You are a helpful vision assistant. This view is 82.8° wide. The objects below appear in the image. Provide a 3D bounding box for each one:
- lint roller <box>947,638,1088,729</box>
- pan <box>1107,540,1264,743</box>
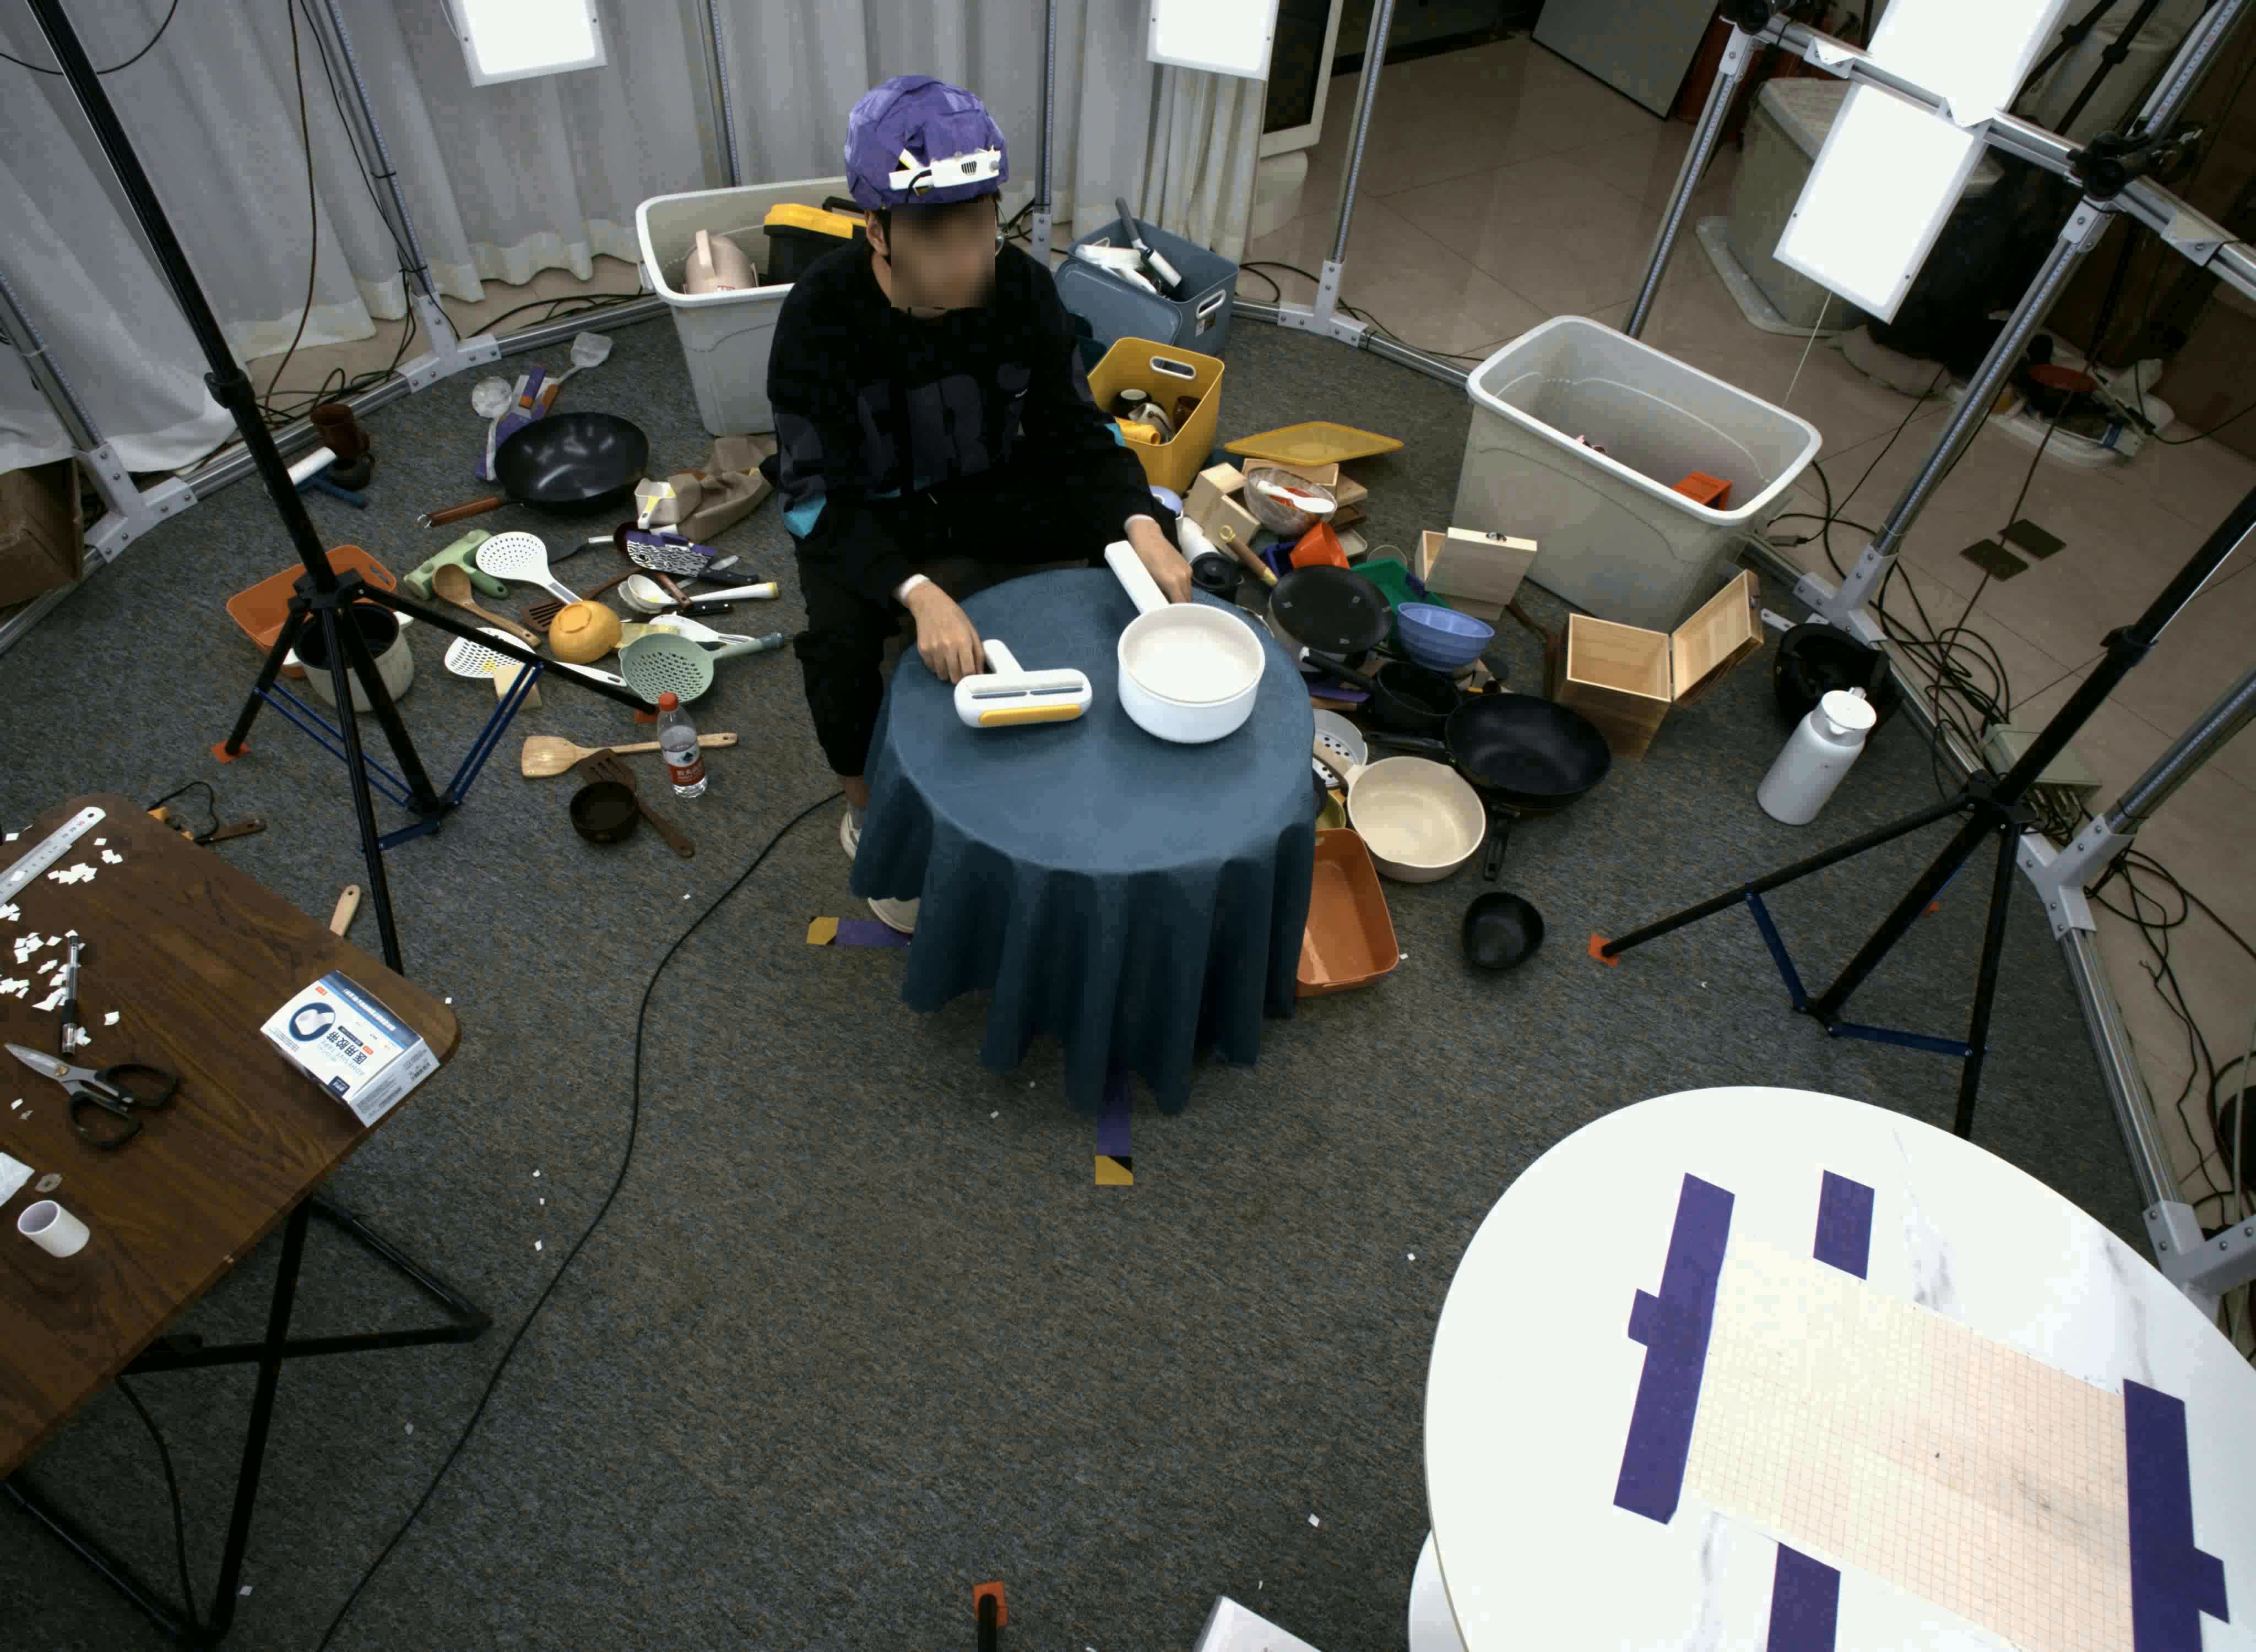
[{"bbox_3d":[-0.167,-0.212,1.798,0.192,0.072,0.197,-7,48,-16],"label":"lint roller"},{"bbox_3d":[0.053,-0.264,1.835,0.201,0.099,0.363,-17,52,-17],"label":"pan"}]
